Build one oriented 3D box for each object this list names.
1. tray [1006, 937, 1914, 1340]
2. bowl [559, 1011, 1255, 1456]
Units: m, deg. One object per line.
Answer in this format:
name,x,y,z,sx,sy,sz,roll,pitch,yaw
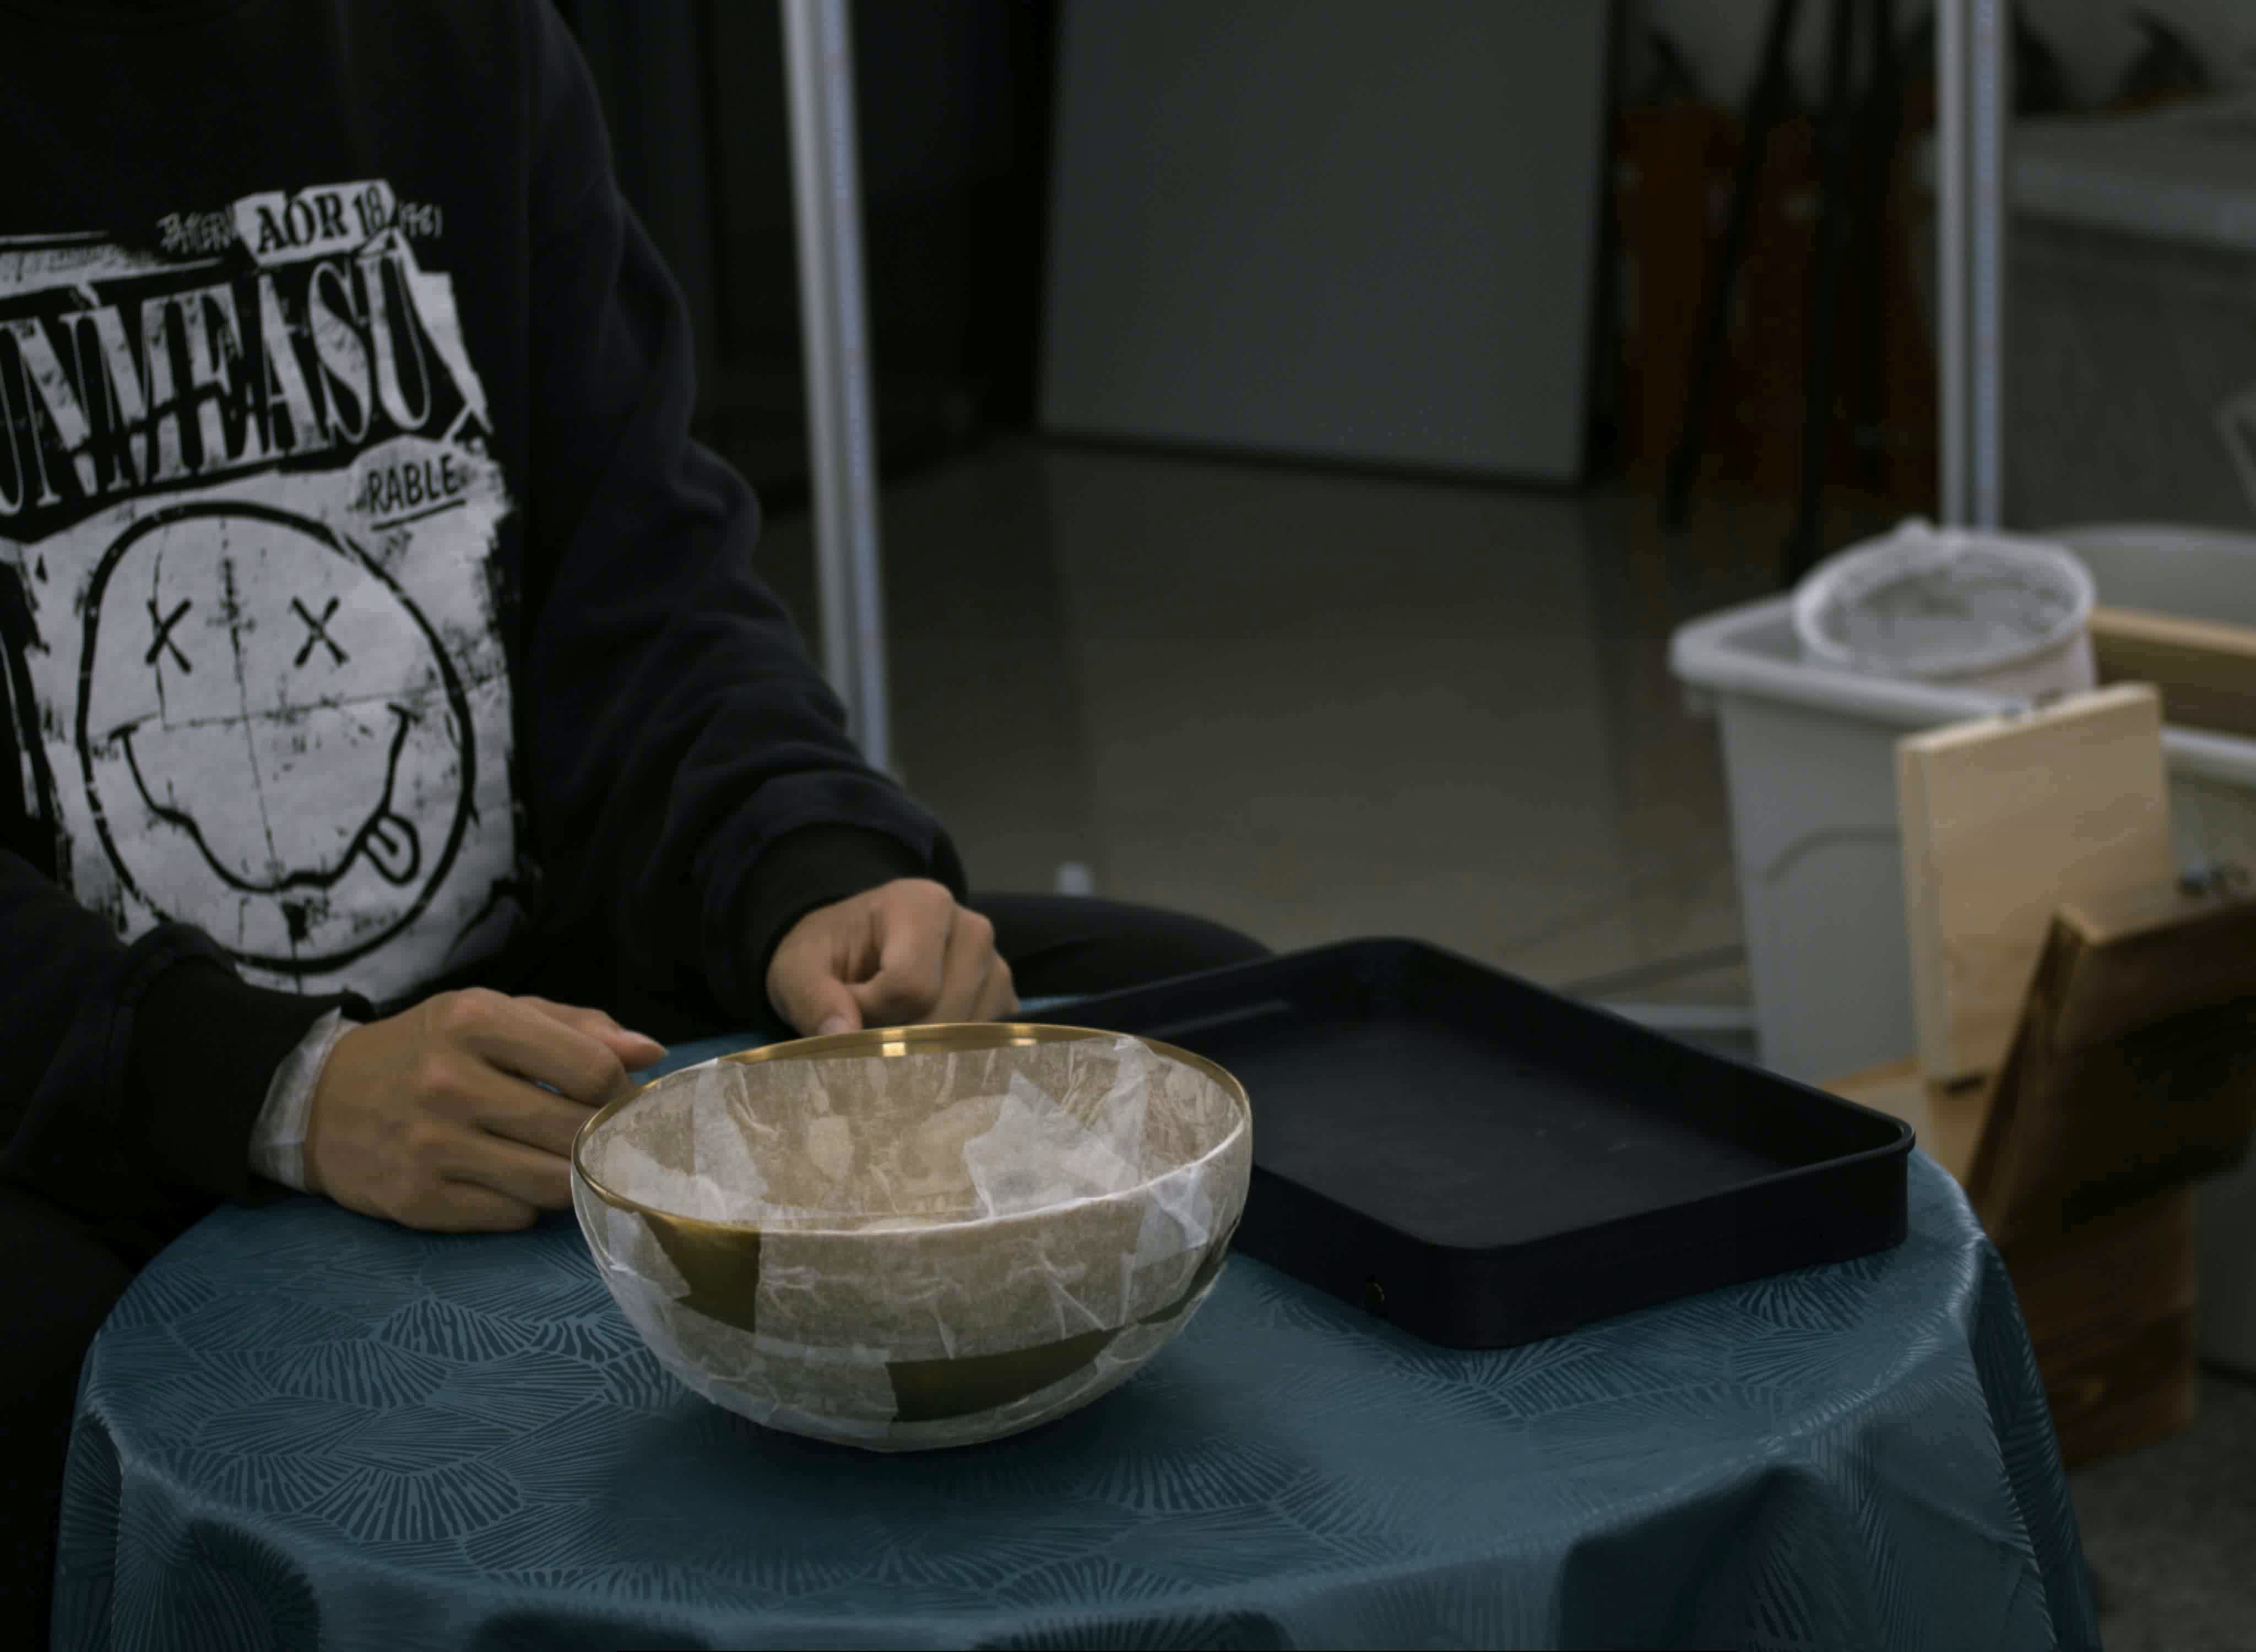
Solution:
tray,0.098,0.097,1.758,0.180,0.037,0.321,-13,15,-26
bowl,-0.059,0.126,1.575,0.212,0.095,0.215,-5,15,0
